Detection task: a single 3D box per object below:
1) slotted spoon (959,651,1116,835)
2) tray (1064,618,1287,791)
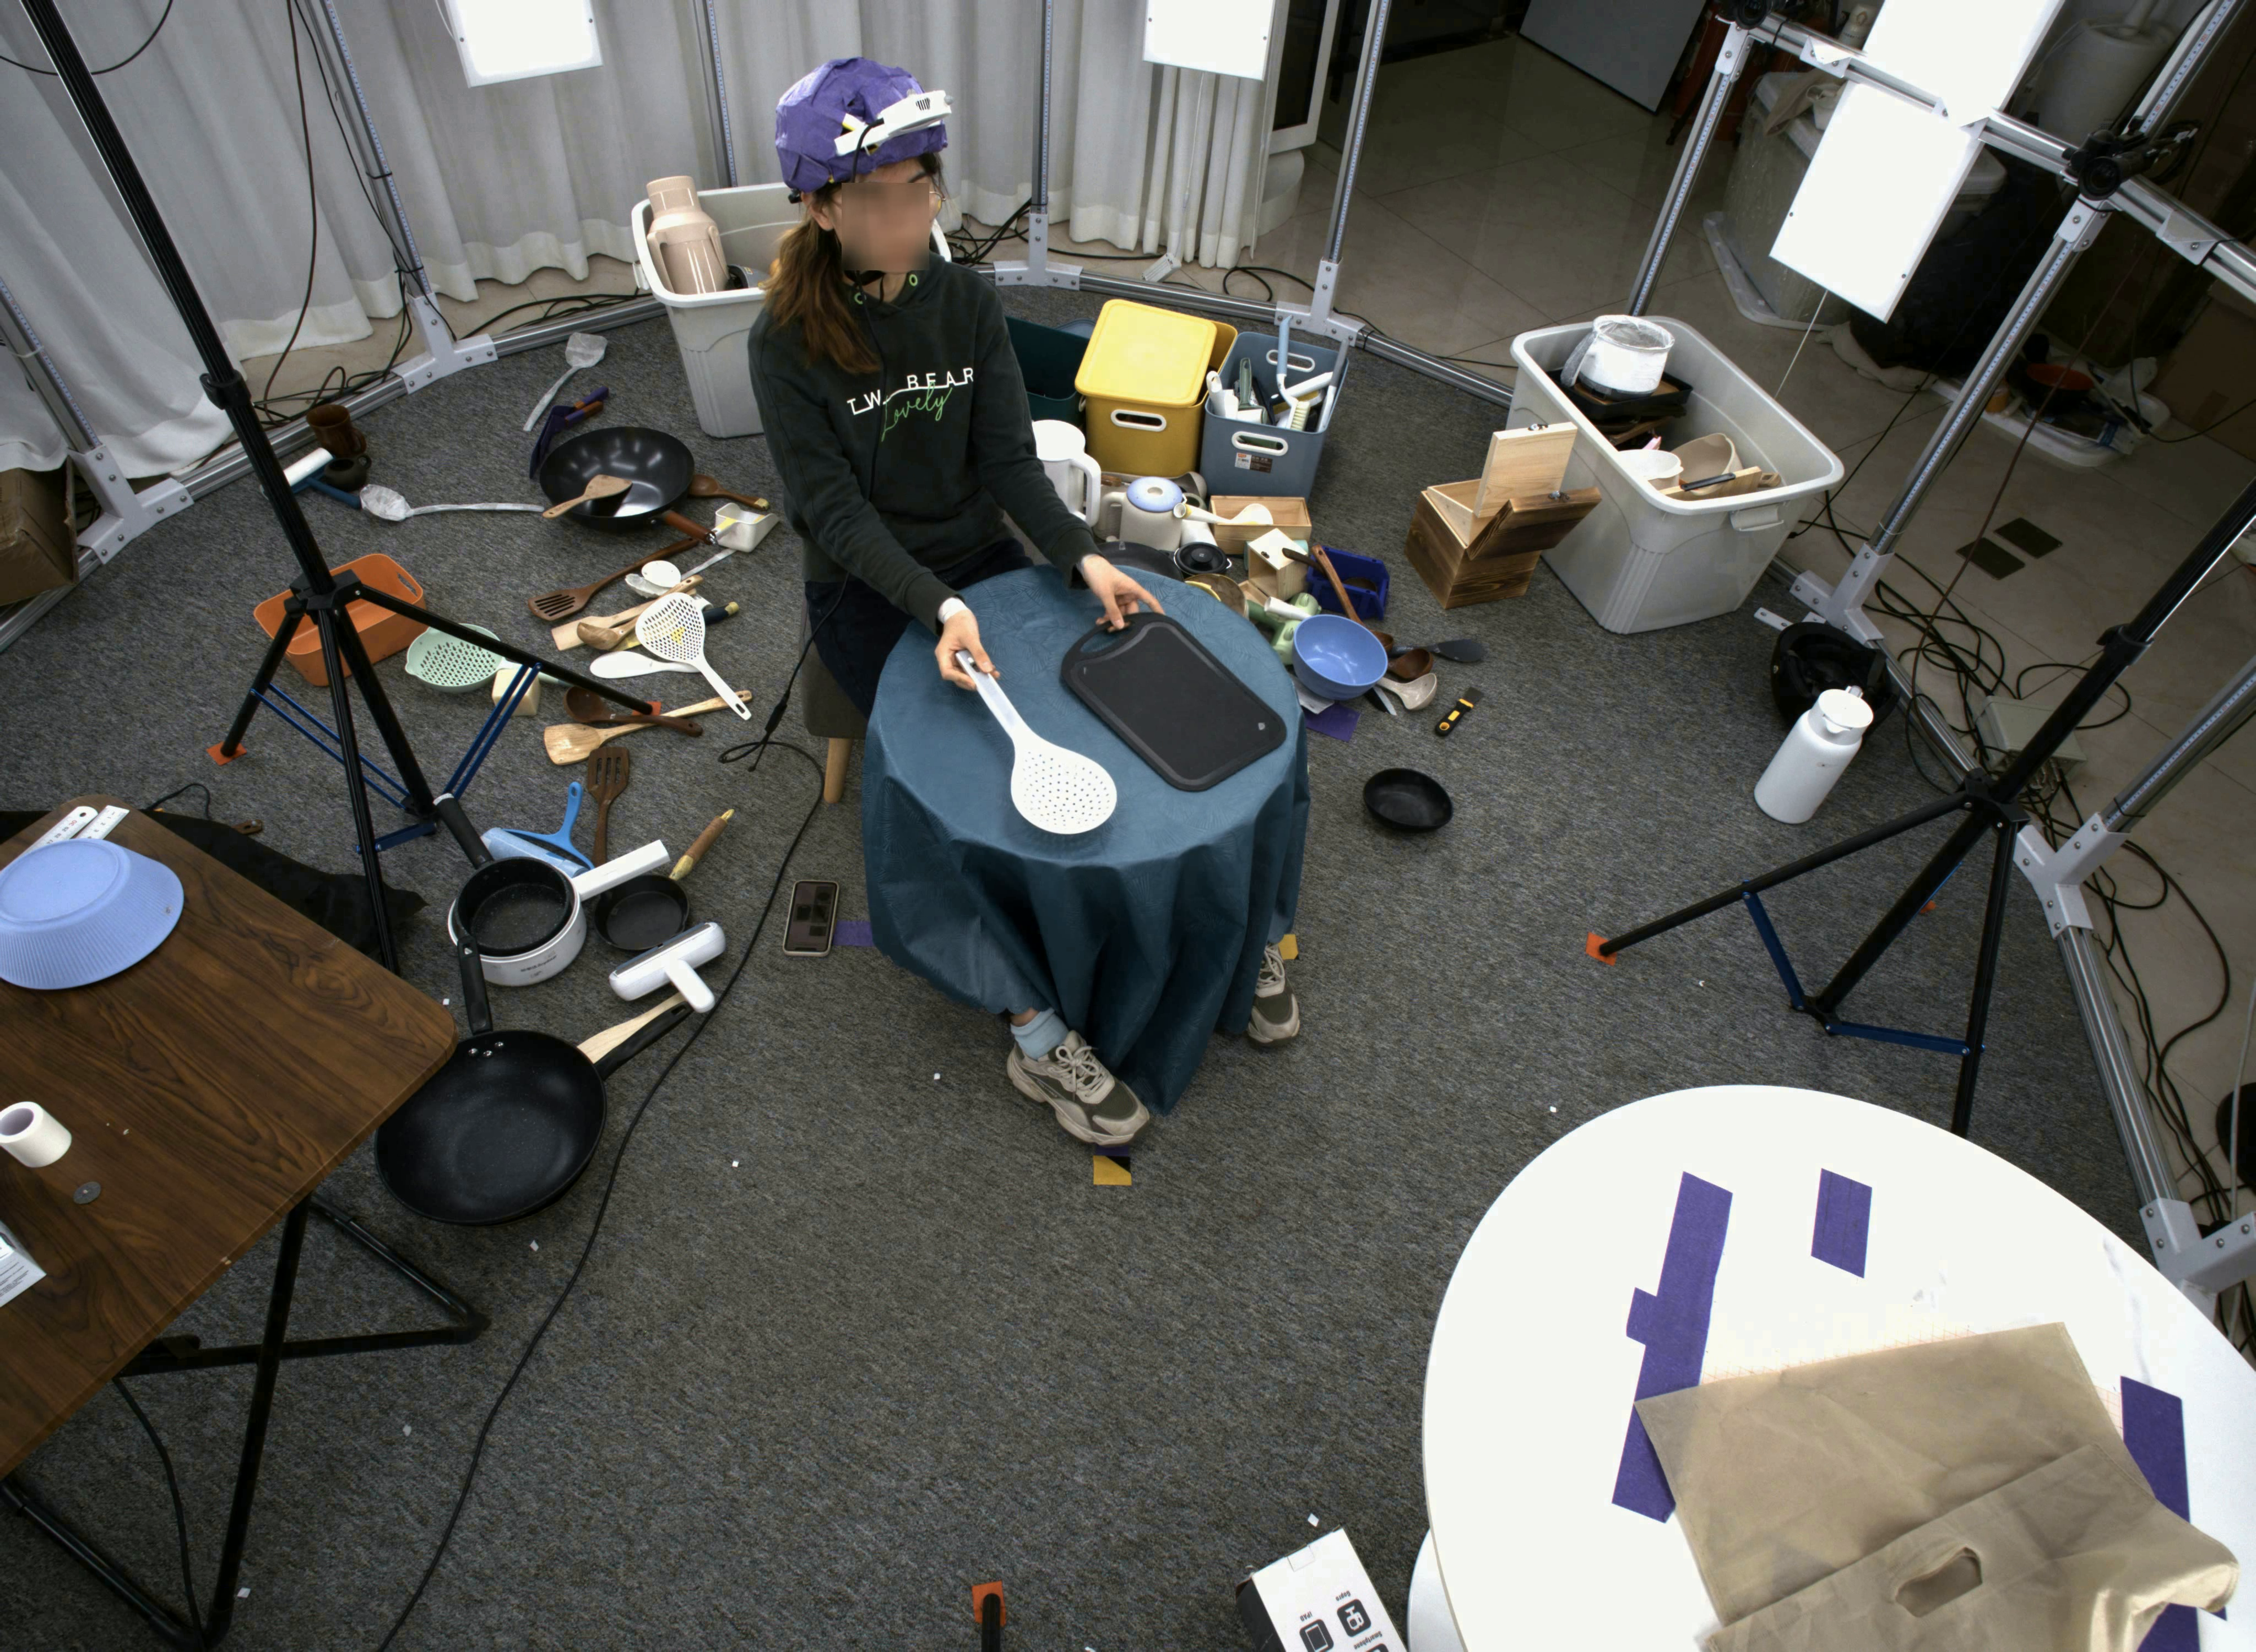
[{"bbox_3d":[-0.139,-0.116,1.724,0.136,0.045,0.356,-20,61,-25],"label":"slotted spoon"},{"bbox_3d":[0.060,-0.186,1.837,0.212,0.009,0.331,-30,59,-26],"label":"tray"}]
